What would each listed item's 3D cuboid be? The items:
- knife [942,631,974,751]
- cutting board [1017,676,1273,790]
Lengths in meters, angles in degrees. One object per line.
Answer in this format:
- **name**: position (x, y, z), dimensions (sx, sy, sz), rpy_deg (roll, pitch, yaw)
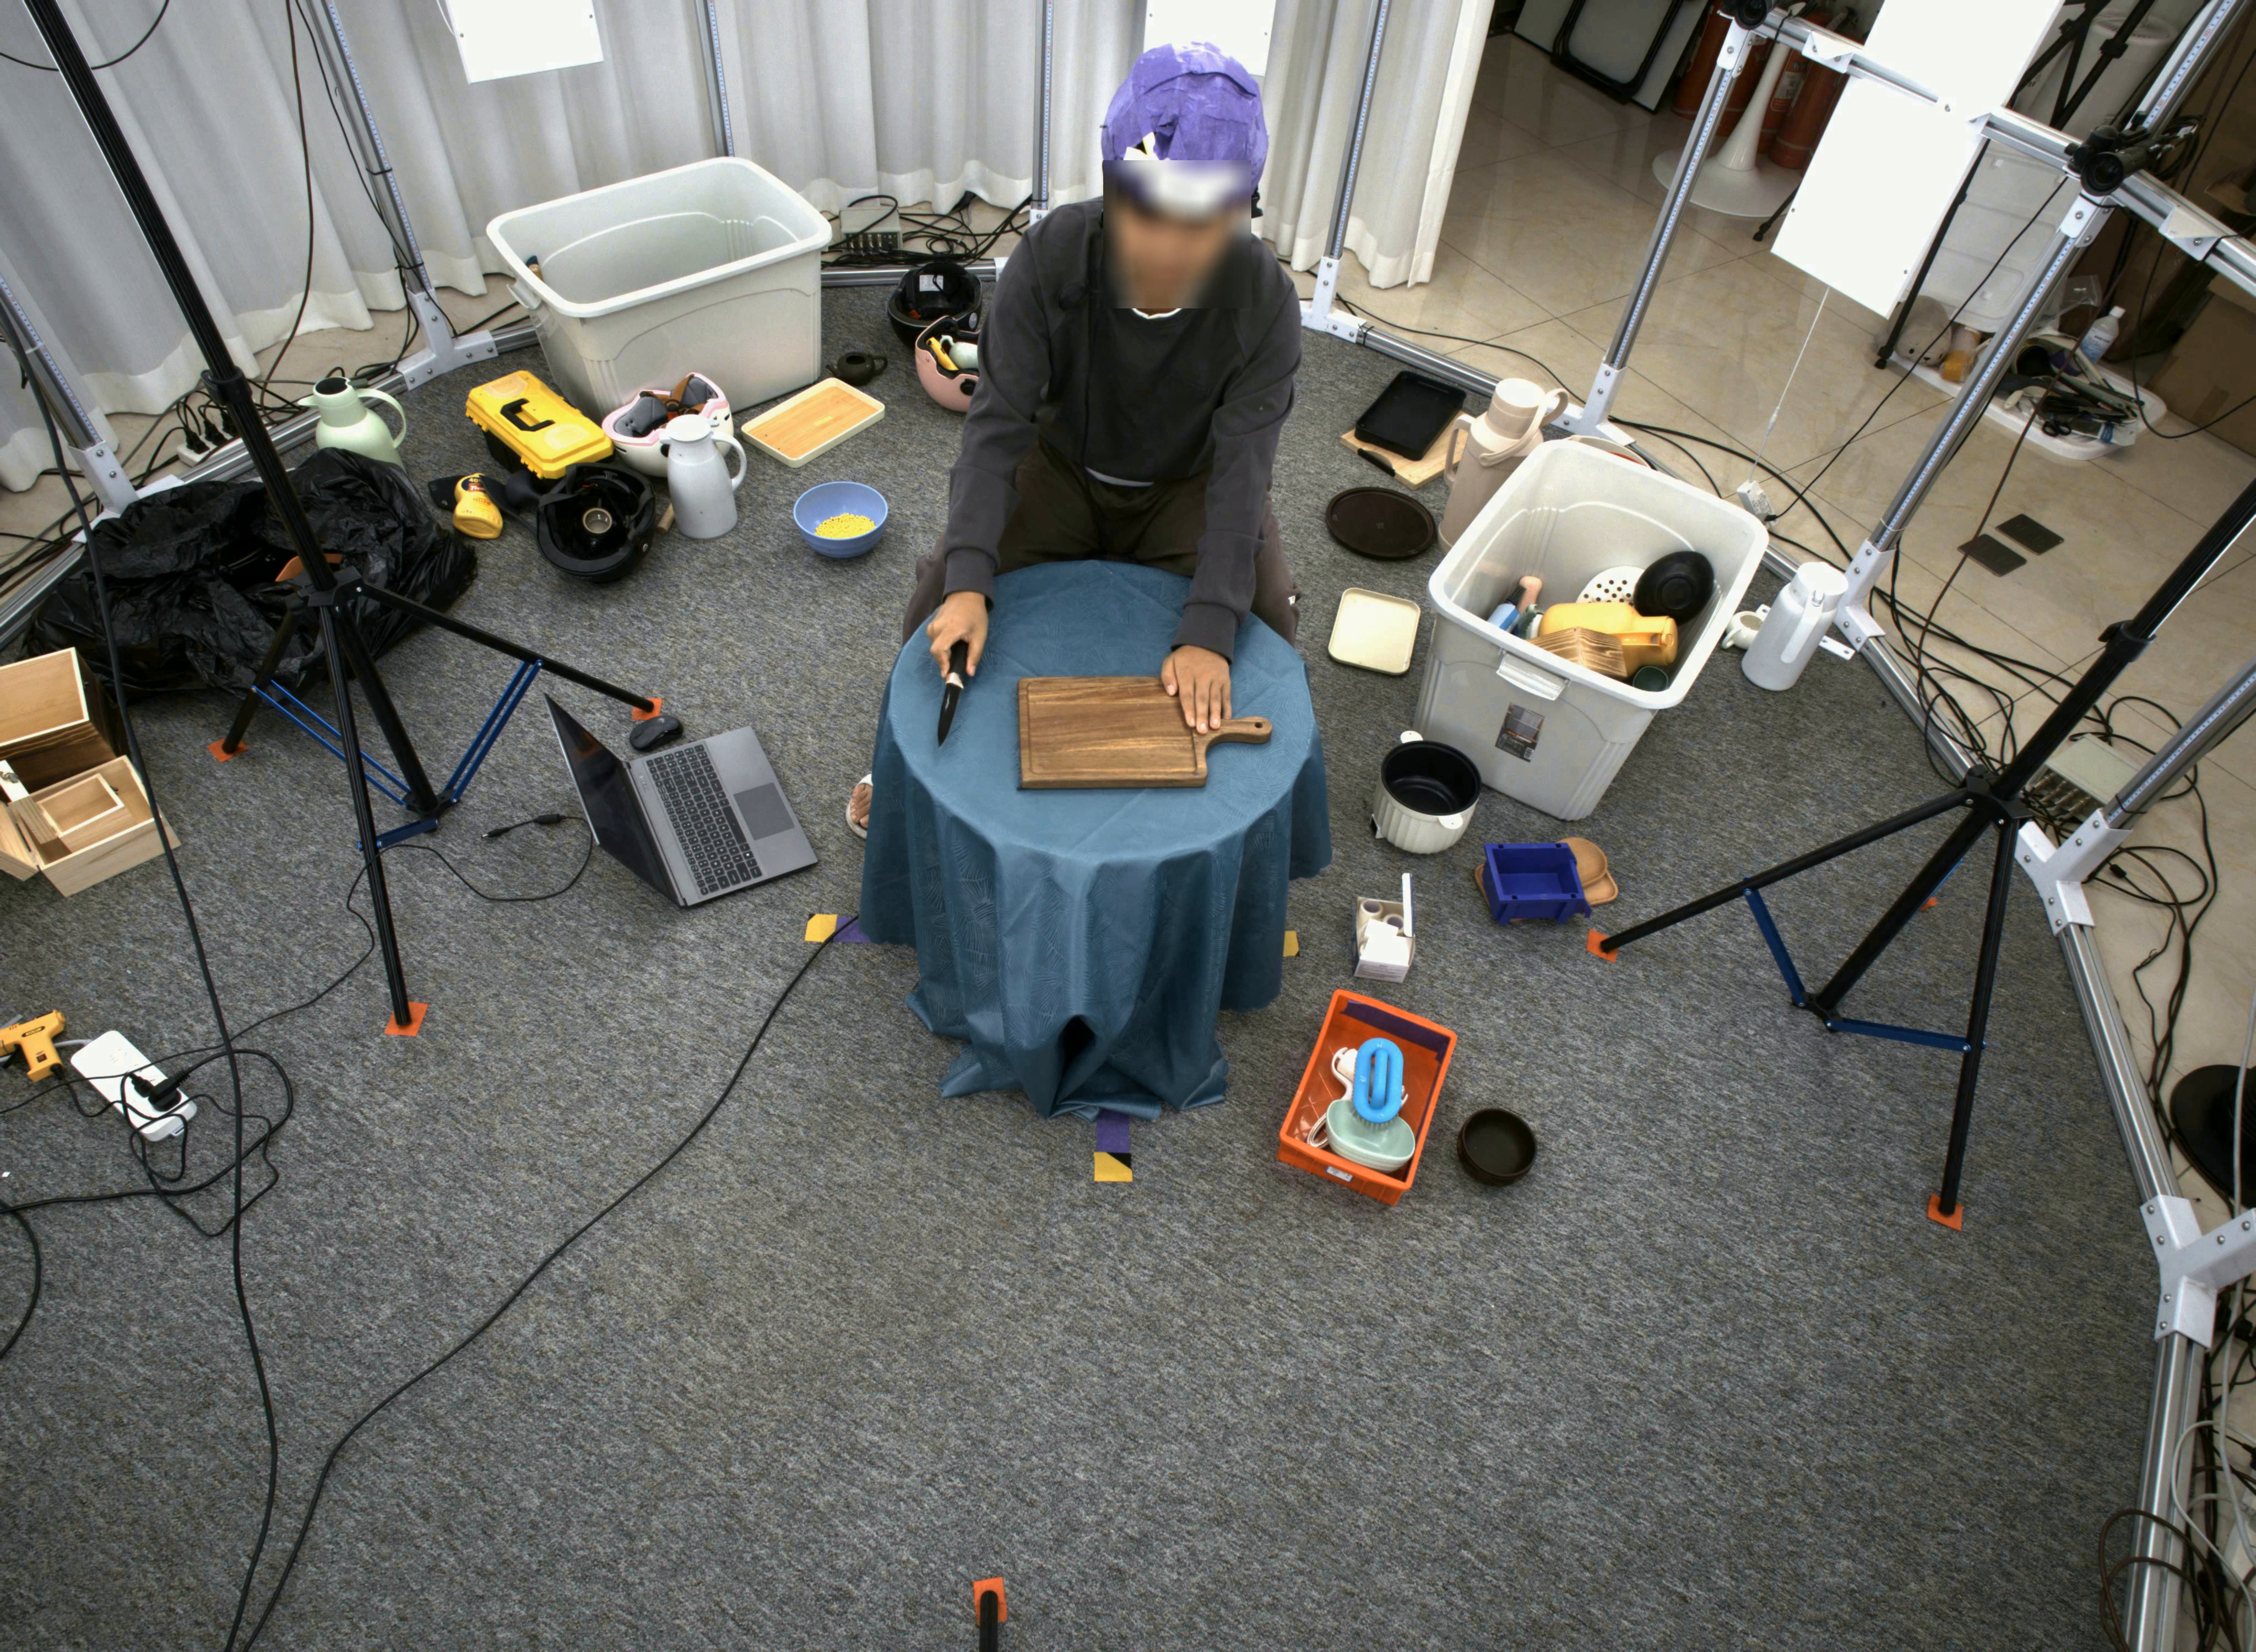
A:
- **knife**: position (-0.237, -0.190, 1.776), dimensions (0.026, 0.017, 0.231), rpy_deg (19, 48, -15)
- **cutting board**: position (0.026, -0.132, 1.768), dimensions (0.351, 0.022, 0.206), rpy_deg (-1, 49, -5)
